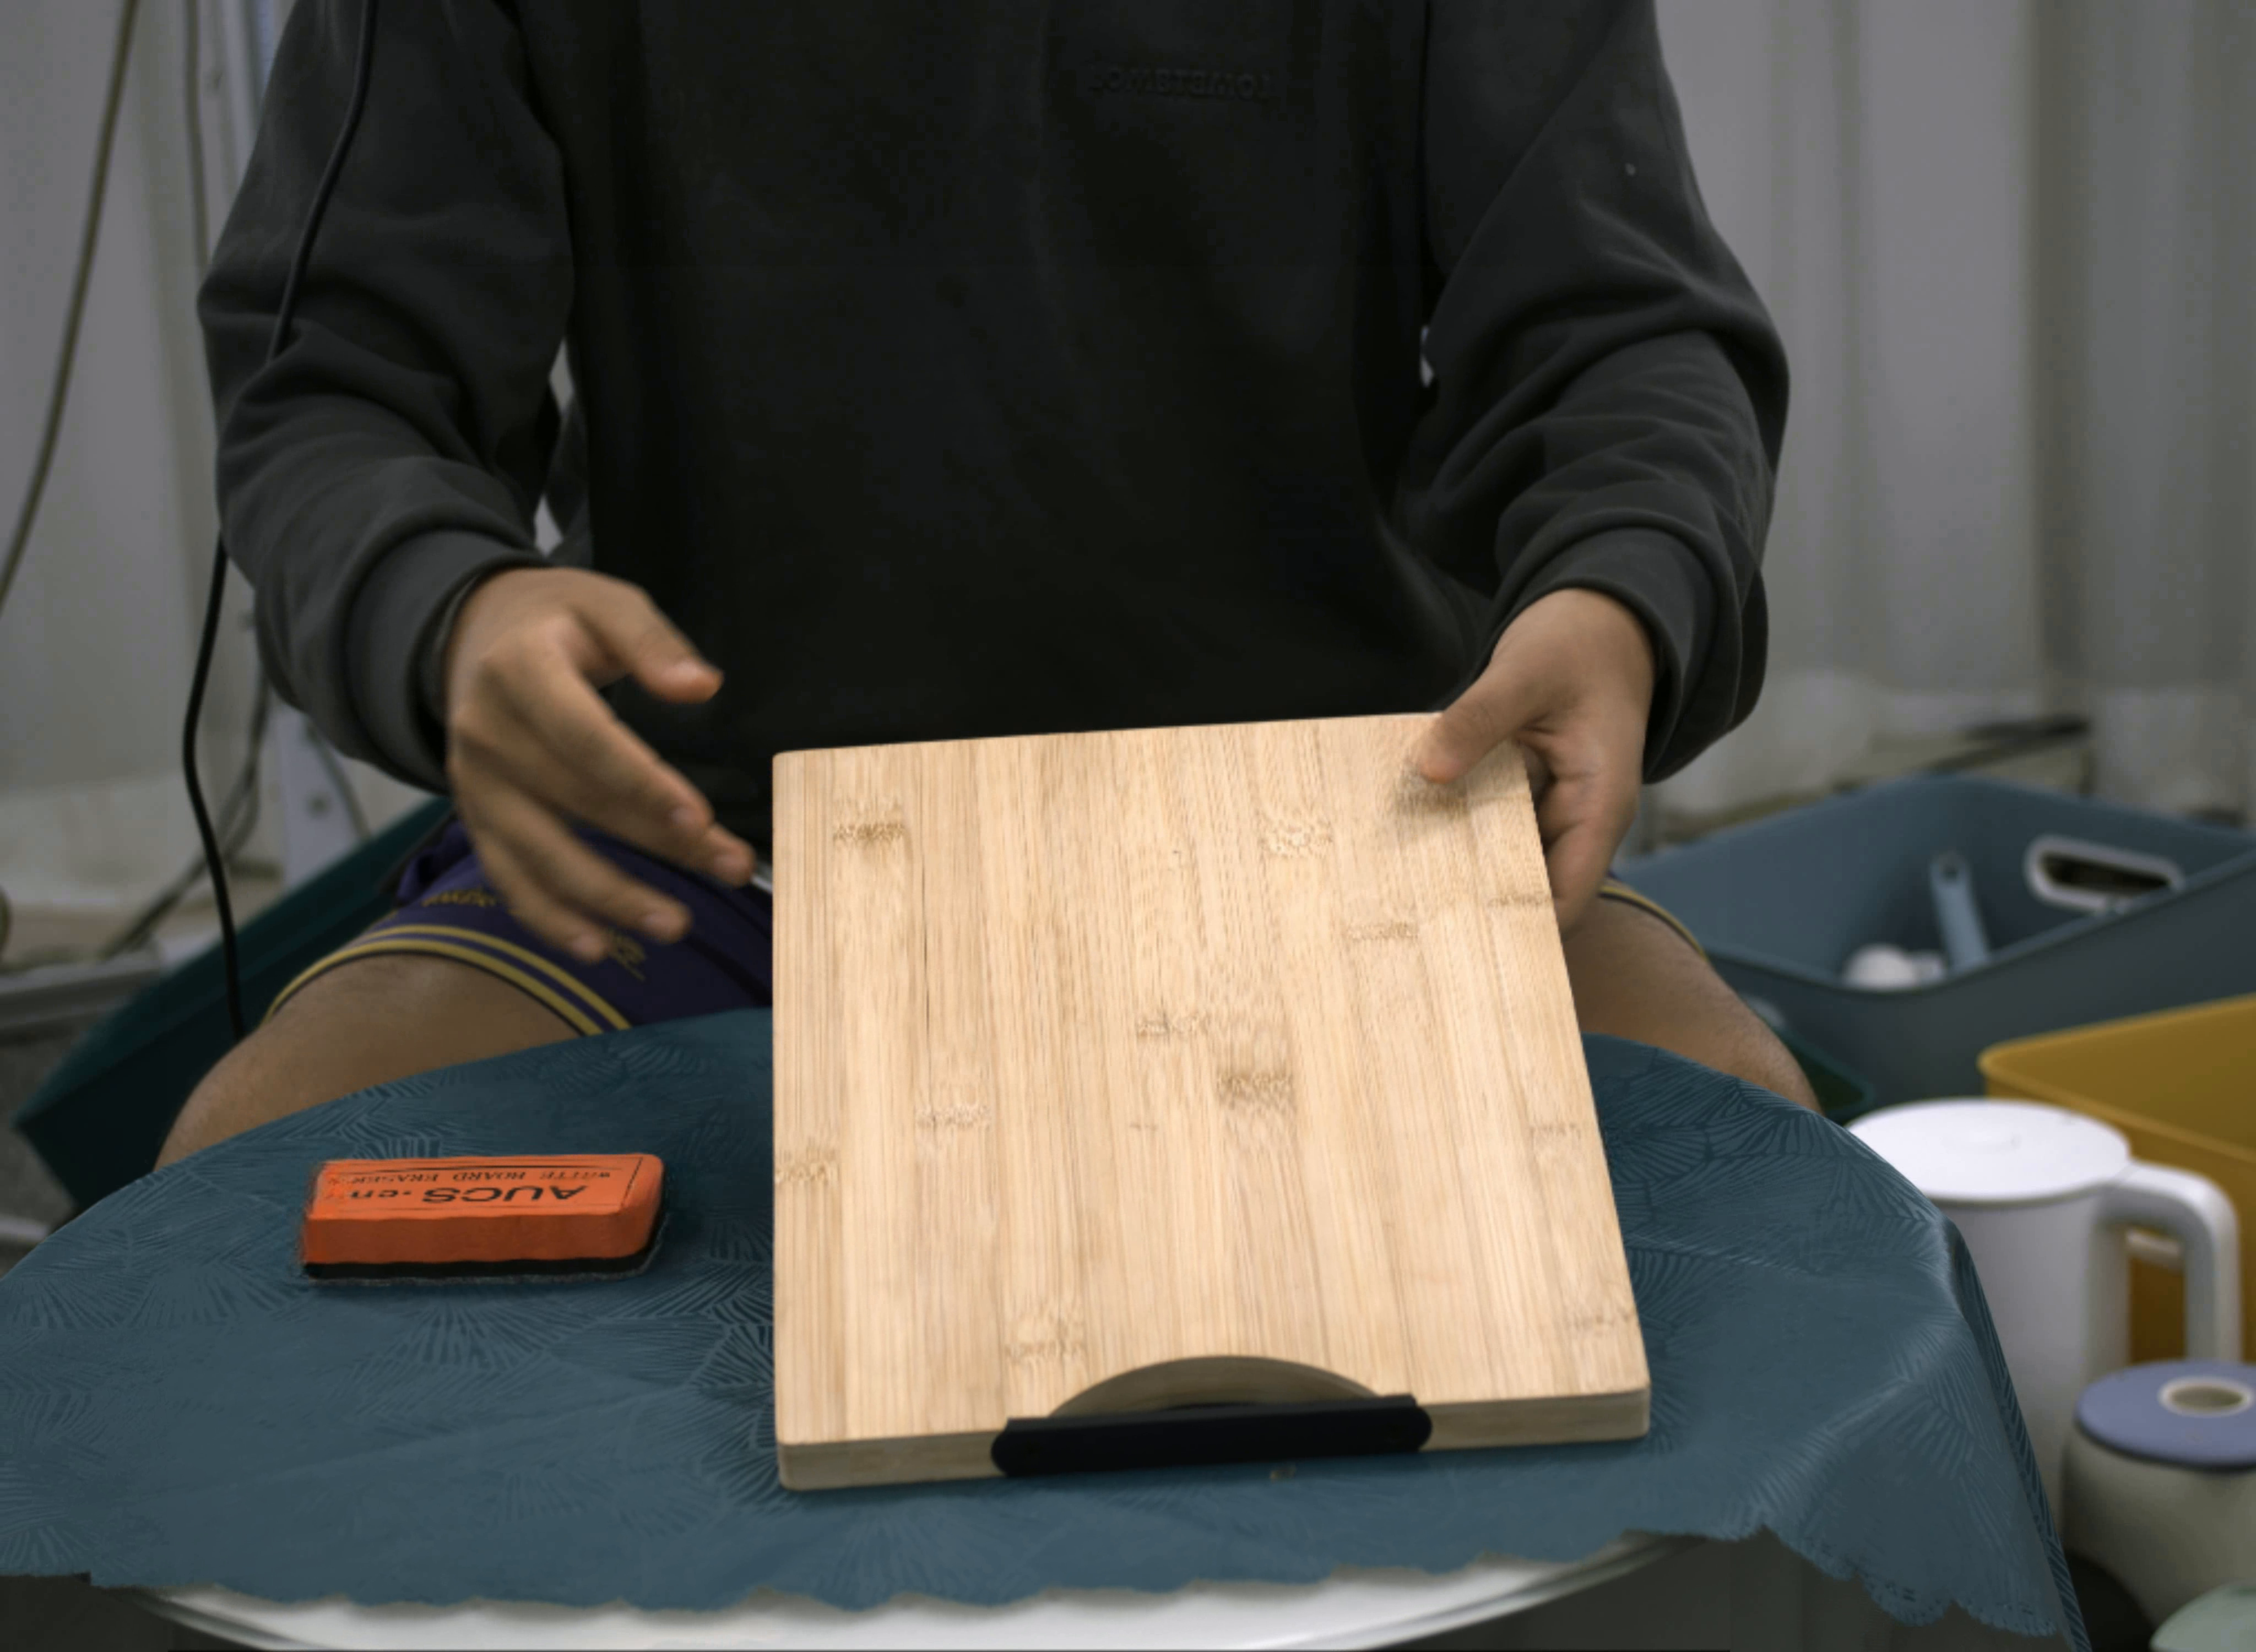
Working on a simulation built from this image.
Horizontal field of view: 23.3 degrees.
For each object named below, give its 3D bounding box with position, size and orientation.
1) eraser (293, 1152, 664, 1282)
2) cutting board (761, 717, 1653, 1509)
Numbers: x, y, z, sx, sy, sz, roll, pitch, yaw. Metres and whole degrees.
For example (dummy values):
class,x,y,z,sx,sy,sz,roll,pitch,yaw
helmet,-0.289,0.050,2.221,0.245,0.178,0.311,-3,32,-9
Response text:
class,x,y,z,sx,sy,sz,roll,pitch,yaw
eraser,-0.199,0.121,1.685,0.108,0.023,0.059,-1,15,6
cutting board,0.014,0.075,1.620,0.250,0.023,0.353,-4,34,-2
